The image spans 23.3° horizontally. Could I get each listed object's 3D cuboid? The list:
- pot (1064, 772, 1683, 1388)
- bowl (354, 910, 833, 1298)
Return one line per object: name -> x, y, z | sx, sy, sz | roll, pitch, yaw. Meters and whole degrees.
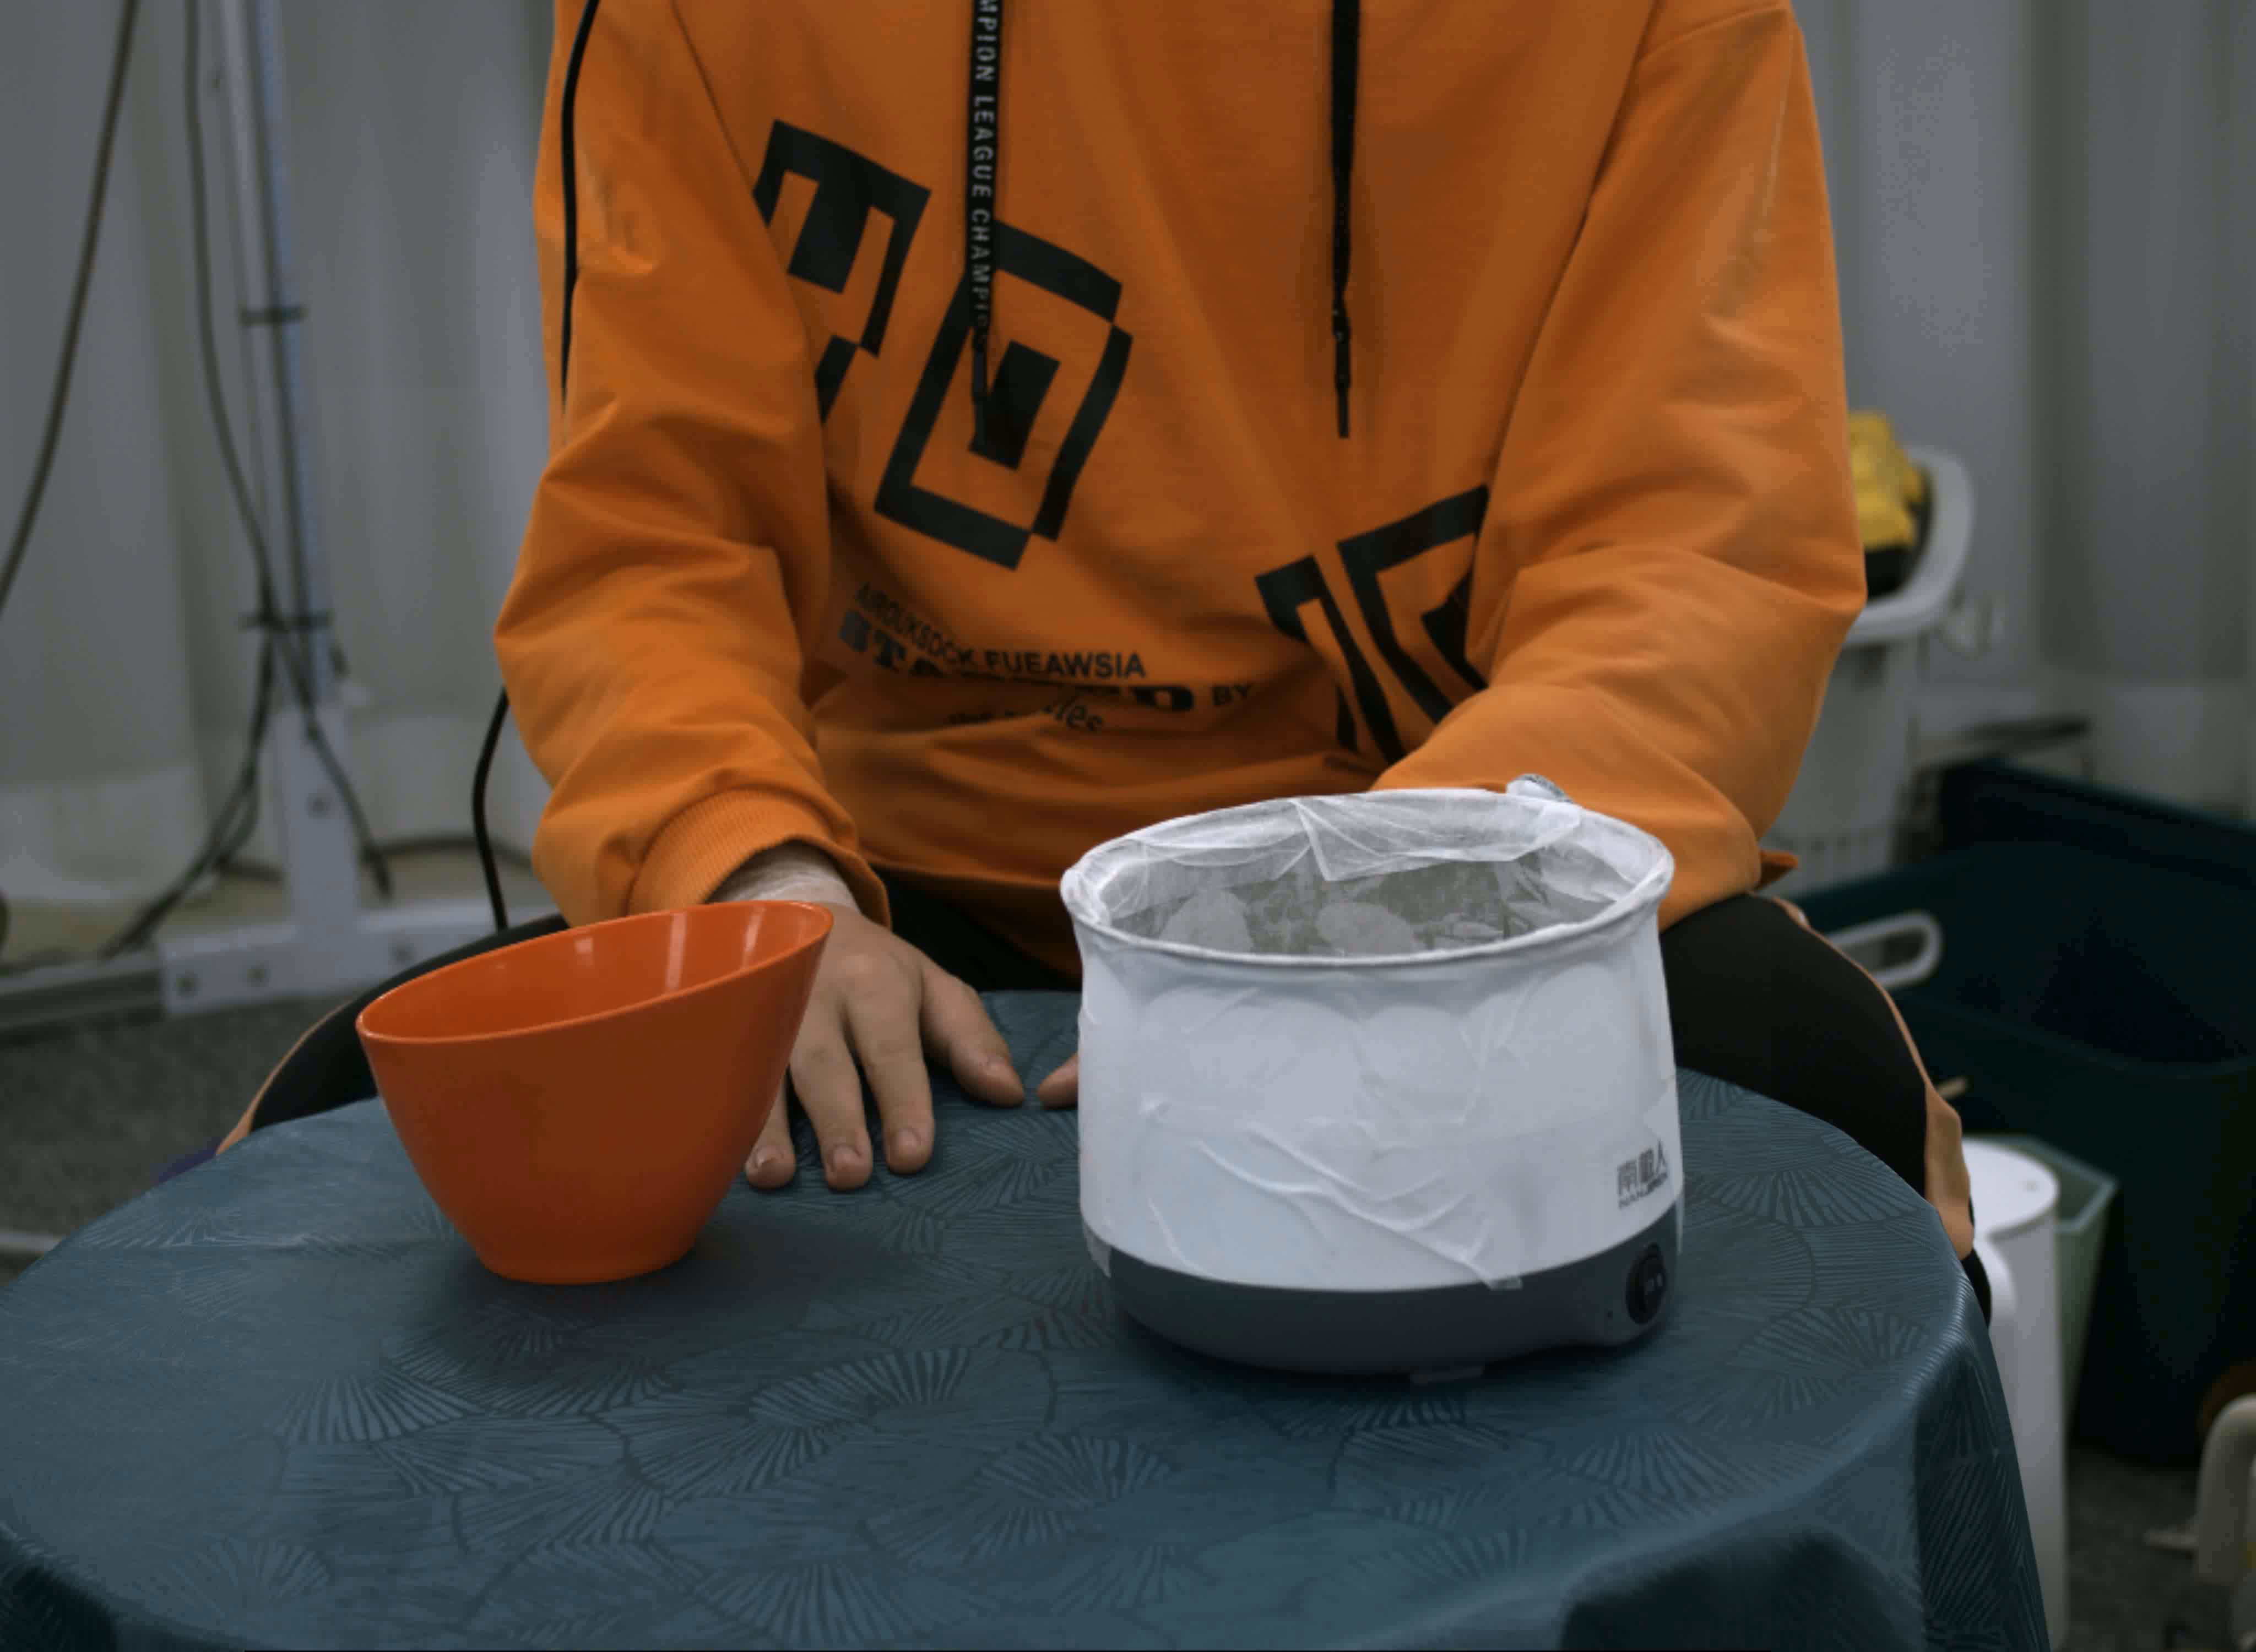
pot -> 0.086, 0.068, 1.611 | 0.179, 0.136, 0.234 | 6, 18, 30
bowl -> -0.159, 0.086, 1.670 | 0.147, 0.104, 0.149 | -4, 14, 1
